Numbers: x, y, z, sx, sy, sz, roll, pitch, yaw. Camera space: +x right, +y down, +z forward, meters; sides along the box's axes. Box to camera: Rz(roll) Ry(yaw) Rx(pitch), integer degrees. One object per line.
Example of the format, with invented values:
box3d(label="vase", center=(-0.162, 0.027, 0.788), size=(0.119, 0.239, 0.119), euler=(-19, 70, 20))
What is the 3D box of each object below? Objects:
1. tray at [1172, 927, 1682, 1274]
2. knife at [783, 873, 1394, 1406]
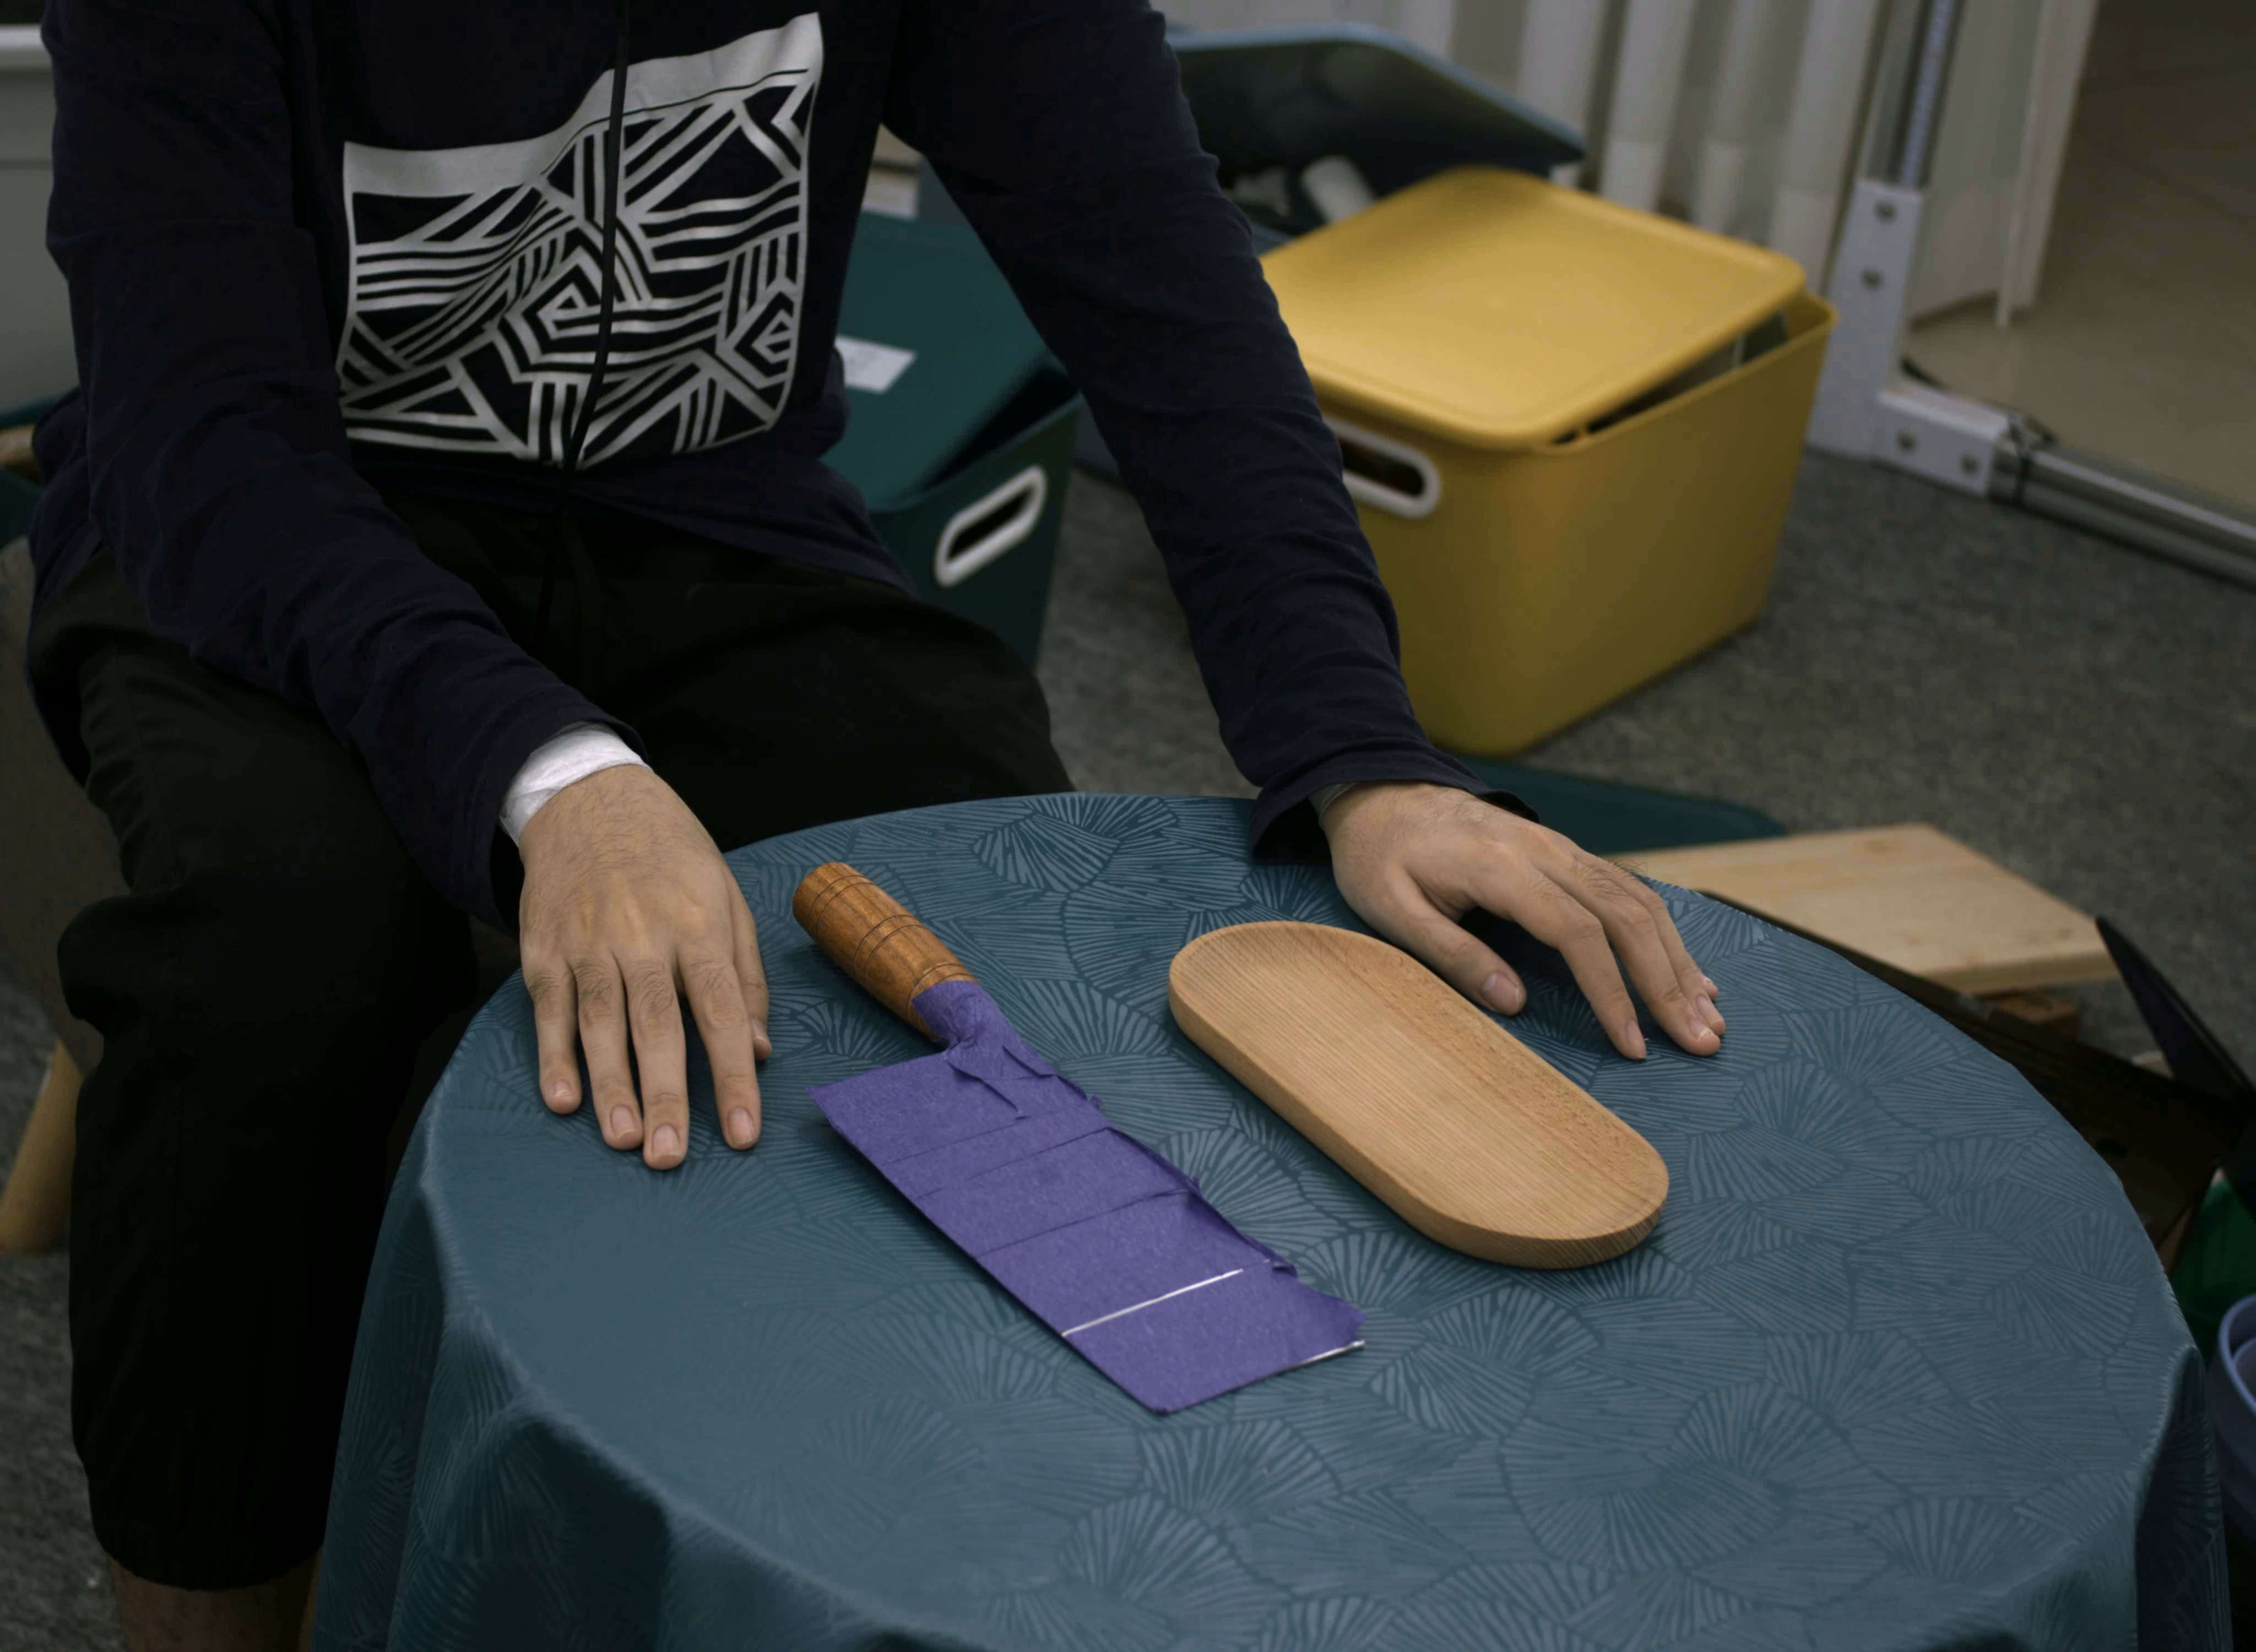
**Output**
box3d(label="tray", center=(0.102, 0.095, 1.869), size=(0.101, 0.020, 0.233), euler=(-13, 34, -32))
box3d(label="knife", center=(-0.044, 0.102, 1.809), size=(0.103, 0.032, 0.318), euler=(-13, 33, -35))
